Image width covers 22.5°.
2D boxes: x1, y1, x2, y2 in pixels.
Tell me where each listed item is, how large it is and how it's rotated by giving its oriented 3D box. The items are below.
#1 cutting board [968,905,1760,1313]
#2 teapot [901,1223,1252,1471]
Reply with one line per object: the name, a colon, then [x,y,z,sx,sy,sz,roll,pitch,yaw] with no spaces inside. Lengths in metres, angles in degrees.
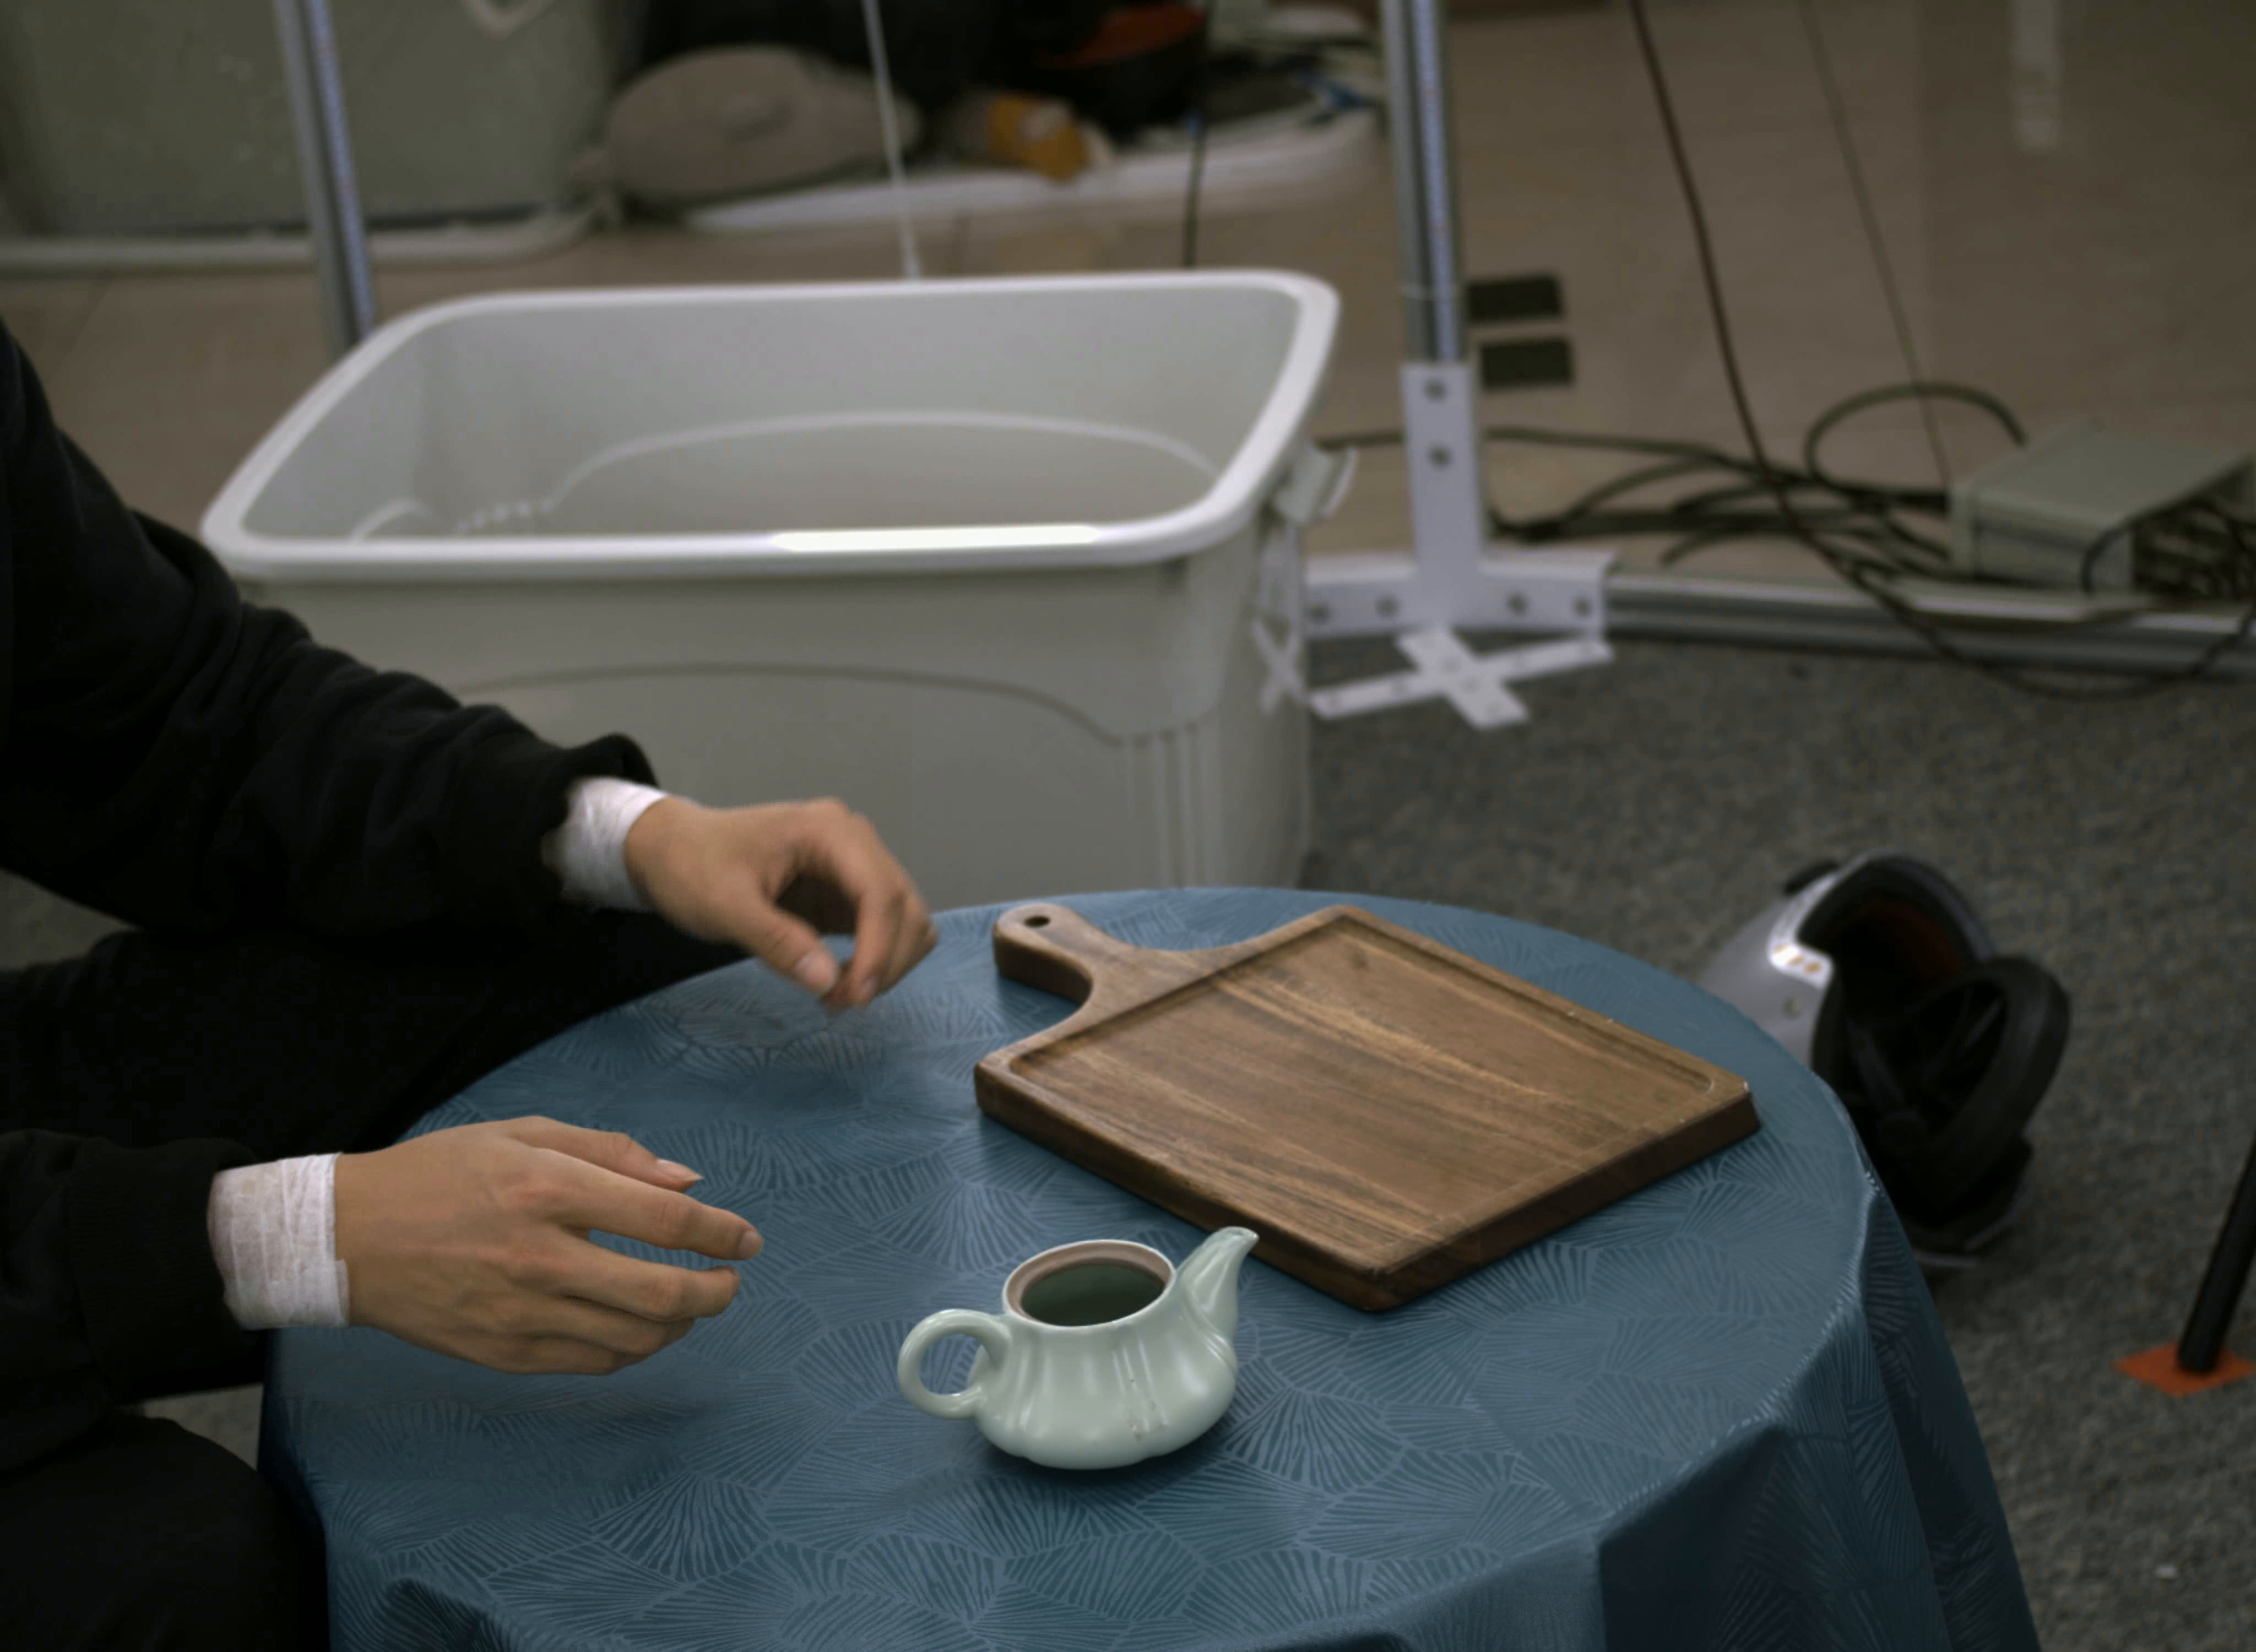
cutting board: [0.058,0.091,2.214,0.199,0.023,0.349,-23,30,-32]
teapot: [-0.015,0.184,1.984,0.136,0.062,0.095,-16,28,-20]
